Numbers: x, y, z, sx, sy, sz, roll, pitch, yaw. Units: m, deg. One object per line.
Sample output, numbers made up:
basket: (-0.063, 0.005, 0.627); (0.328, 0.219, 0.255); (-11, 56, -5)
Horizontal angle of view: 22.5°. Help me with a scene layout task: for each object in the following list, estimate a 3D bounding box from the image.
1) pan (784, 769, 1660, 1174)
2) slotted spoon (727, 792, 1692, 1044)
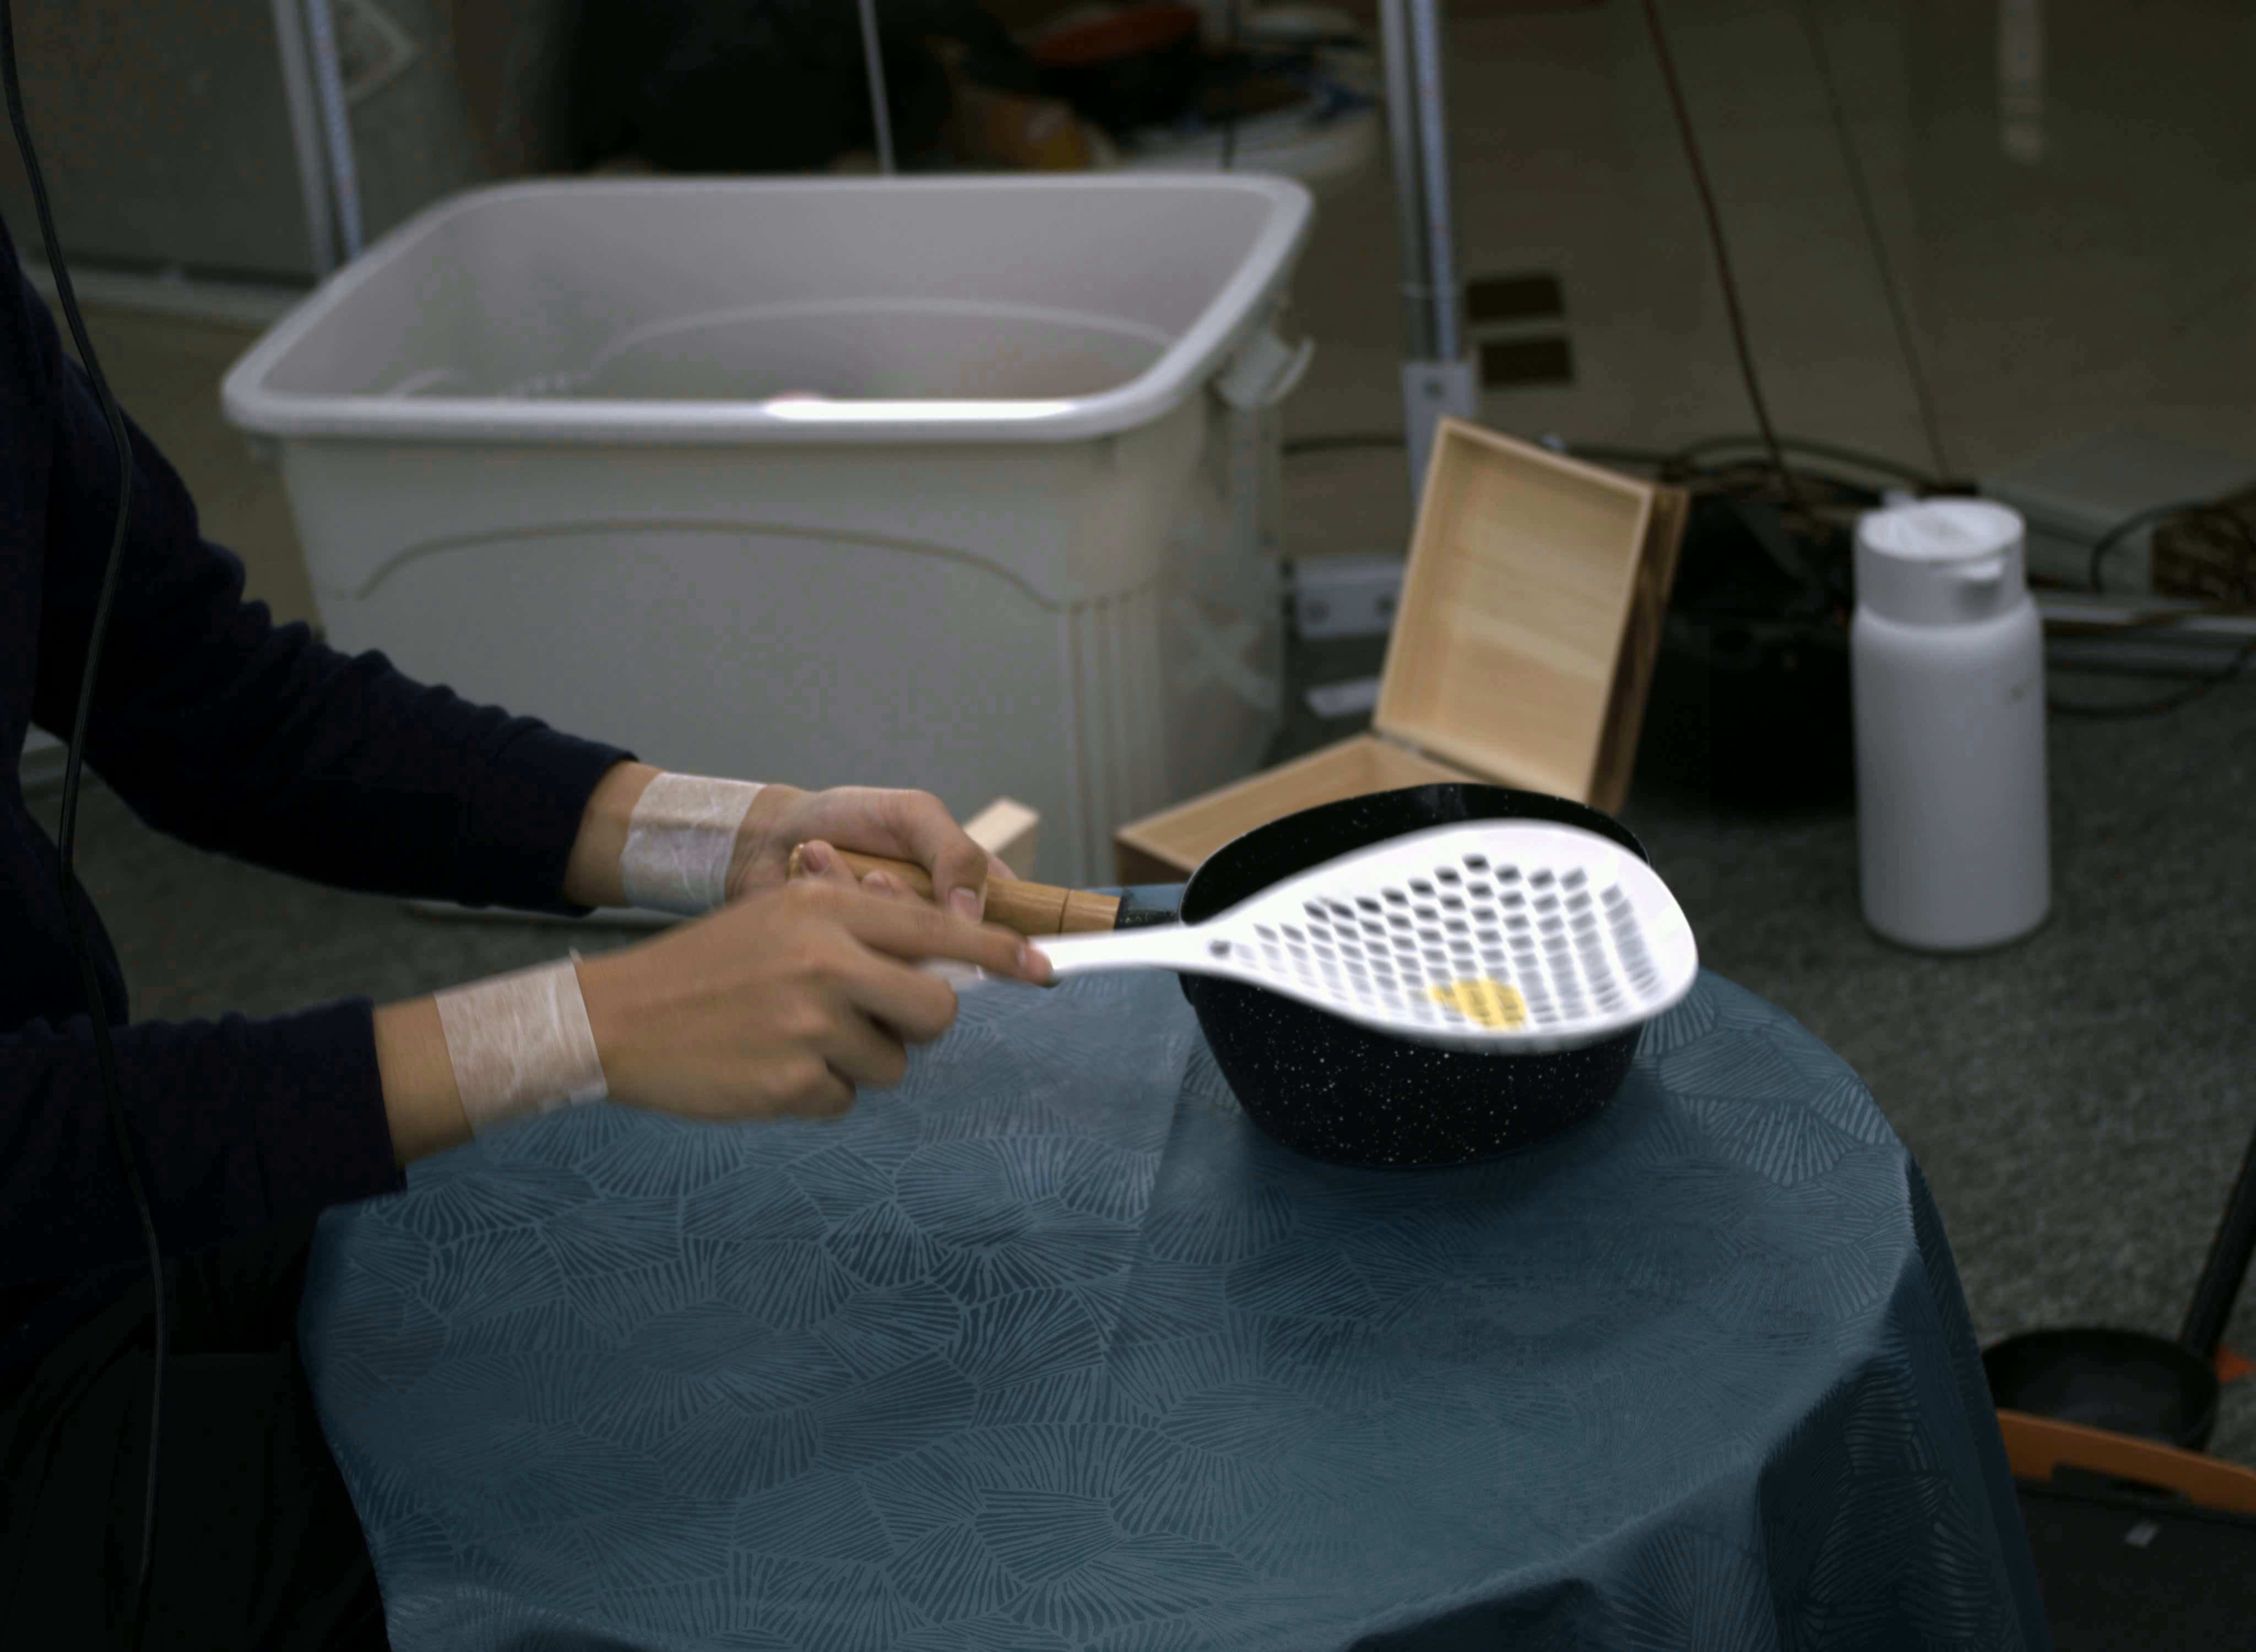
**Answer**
pan: (0.036, 0.053, 2.194); (0.342, 0.110, 0.204); (-1, 27, 11)
slotted spoon: (0.029, 0.047, 2.029); (0.347, 0.051, 0.134); (-1, 35, -14)
